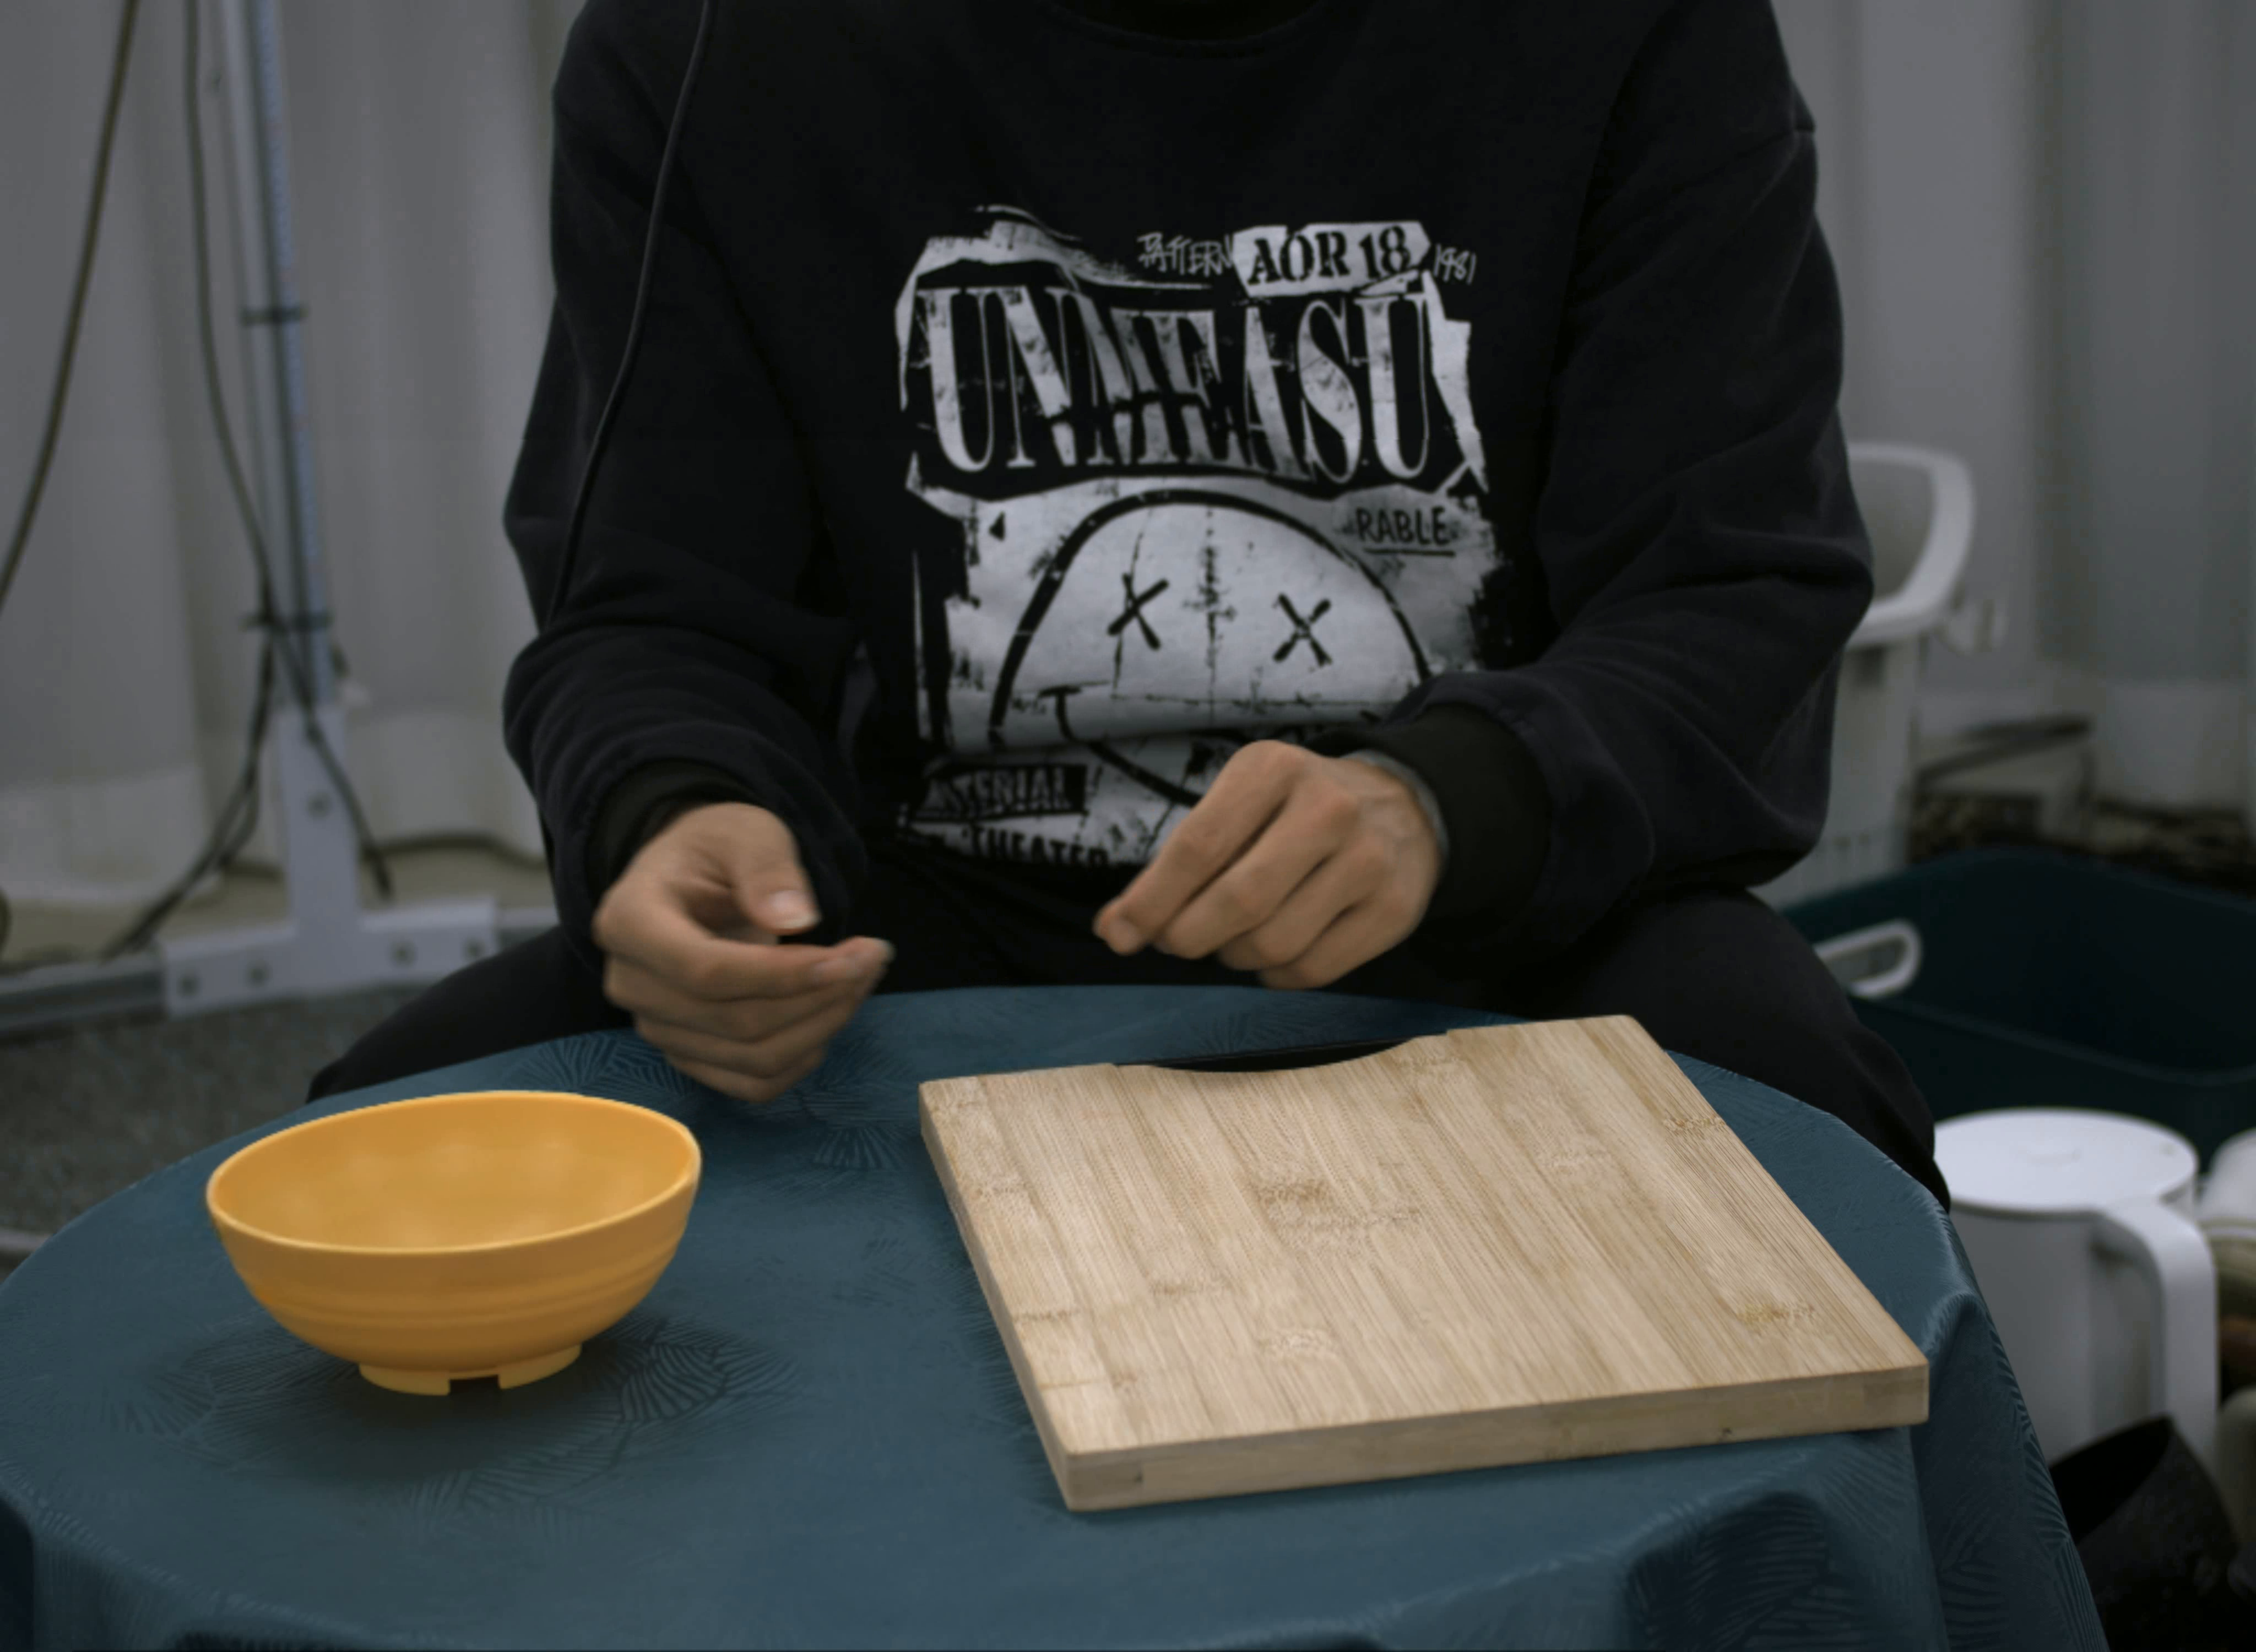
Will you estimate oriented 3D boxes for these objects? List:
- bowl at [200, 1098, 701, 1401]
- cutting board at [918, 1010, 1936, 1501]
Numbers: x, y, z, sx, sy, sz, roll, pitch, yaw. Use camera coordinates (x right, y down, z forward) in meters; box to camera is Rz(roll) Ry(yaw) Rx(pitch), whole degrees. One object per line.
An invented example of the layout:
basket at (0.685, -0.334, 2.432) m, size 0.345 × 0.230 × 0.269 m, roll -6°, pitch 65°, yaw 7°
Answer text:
bowl at (-0.196, 0.128, 1.592) m, size 0.145 × 0.060 × 0.146 m, roll 0°, pitch 14°, yaw 0°
cutting board at (0.076, 0.123, 1.639) m, size 0.249 × 0.023 × 0.351 m, roll -5°, pitch 15°, yaw -9°
